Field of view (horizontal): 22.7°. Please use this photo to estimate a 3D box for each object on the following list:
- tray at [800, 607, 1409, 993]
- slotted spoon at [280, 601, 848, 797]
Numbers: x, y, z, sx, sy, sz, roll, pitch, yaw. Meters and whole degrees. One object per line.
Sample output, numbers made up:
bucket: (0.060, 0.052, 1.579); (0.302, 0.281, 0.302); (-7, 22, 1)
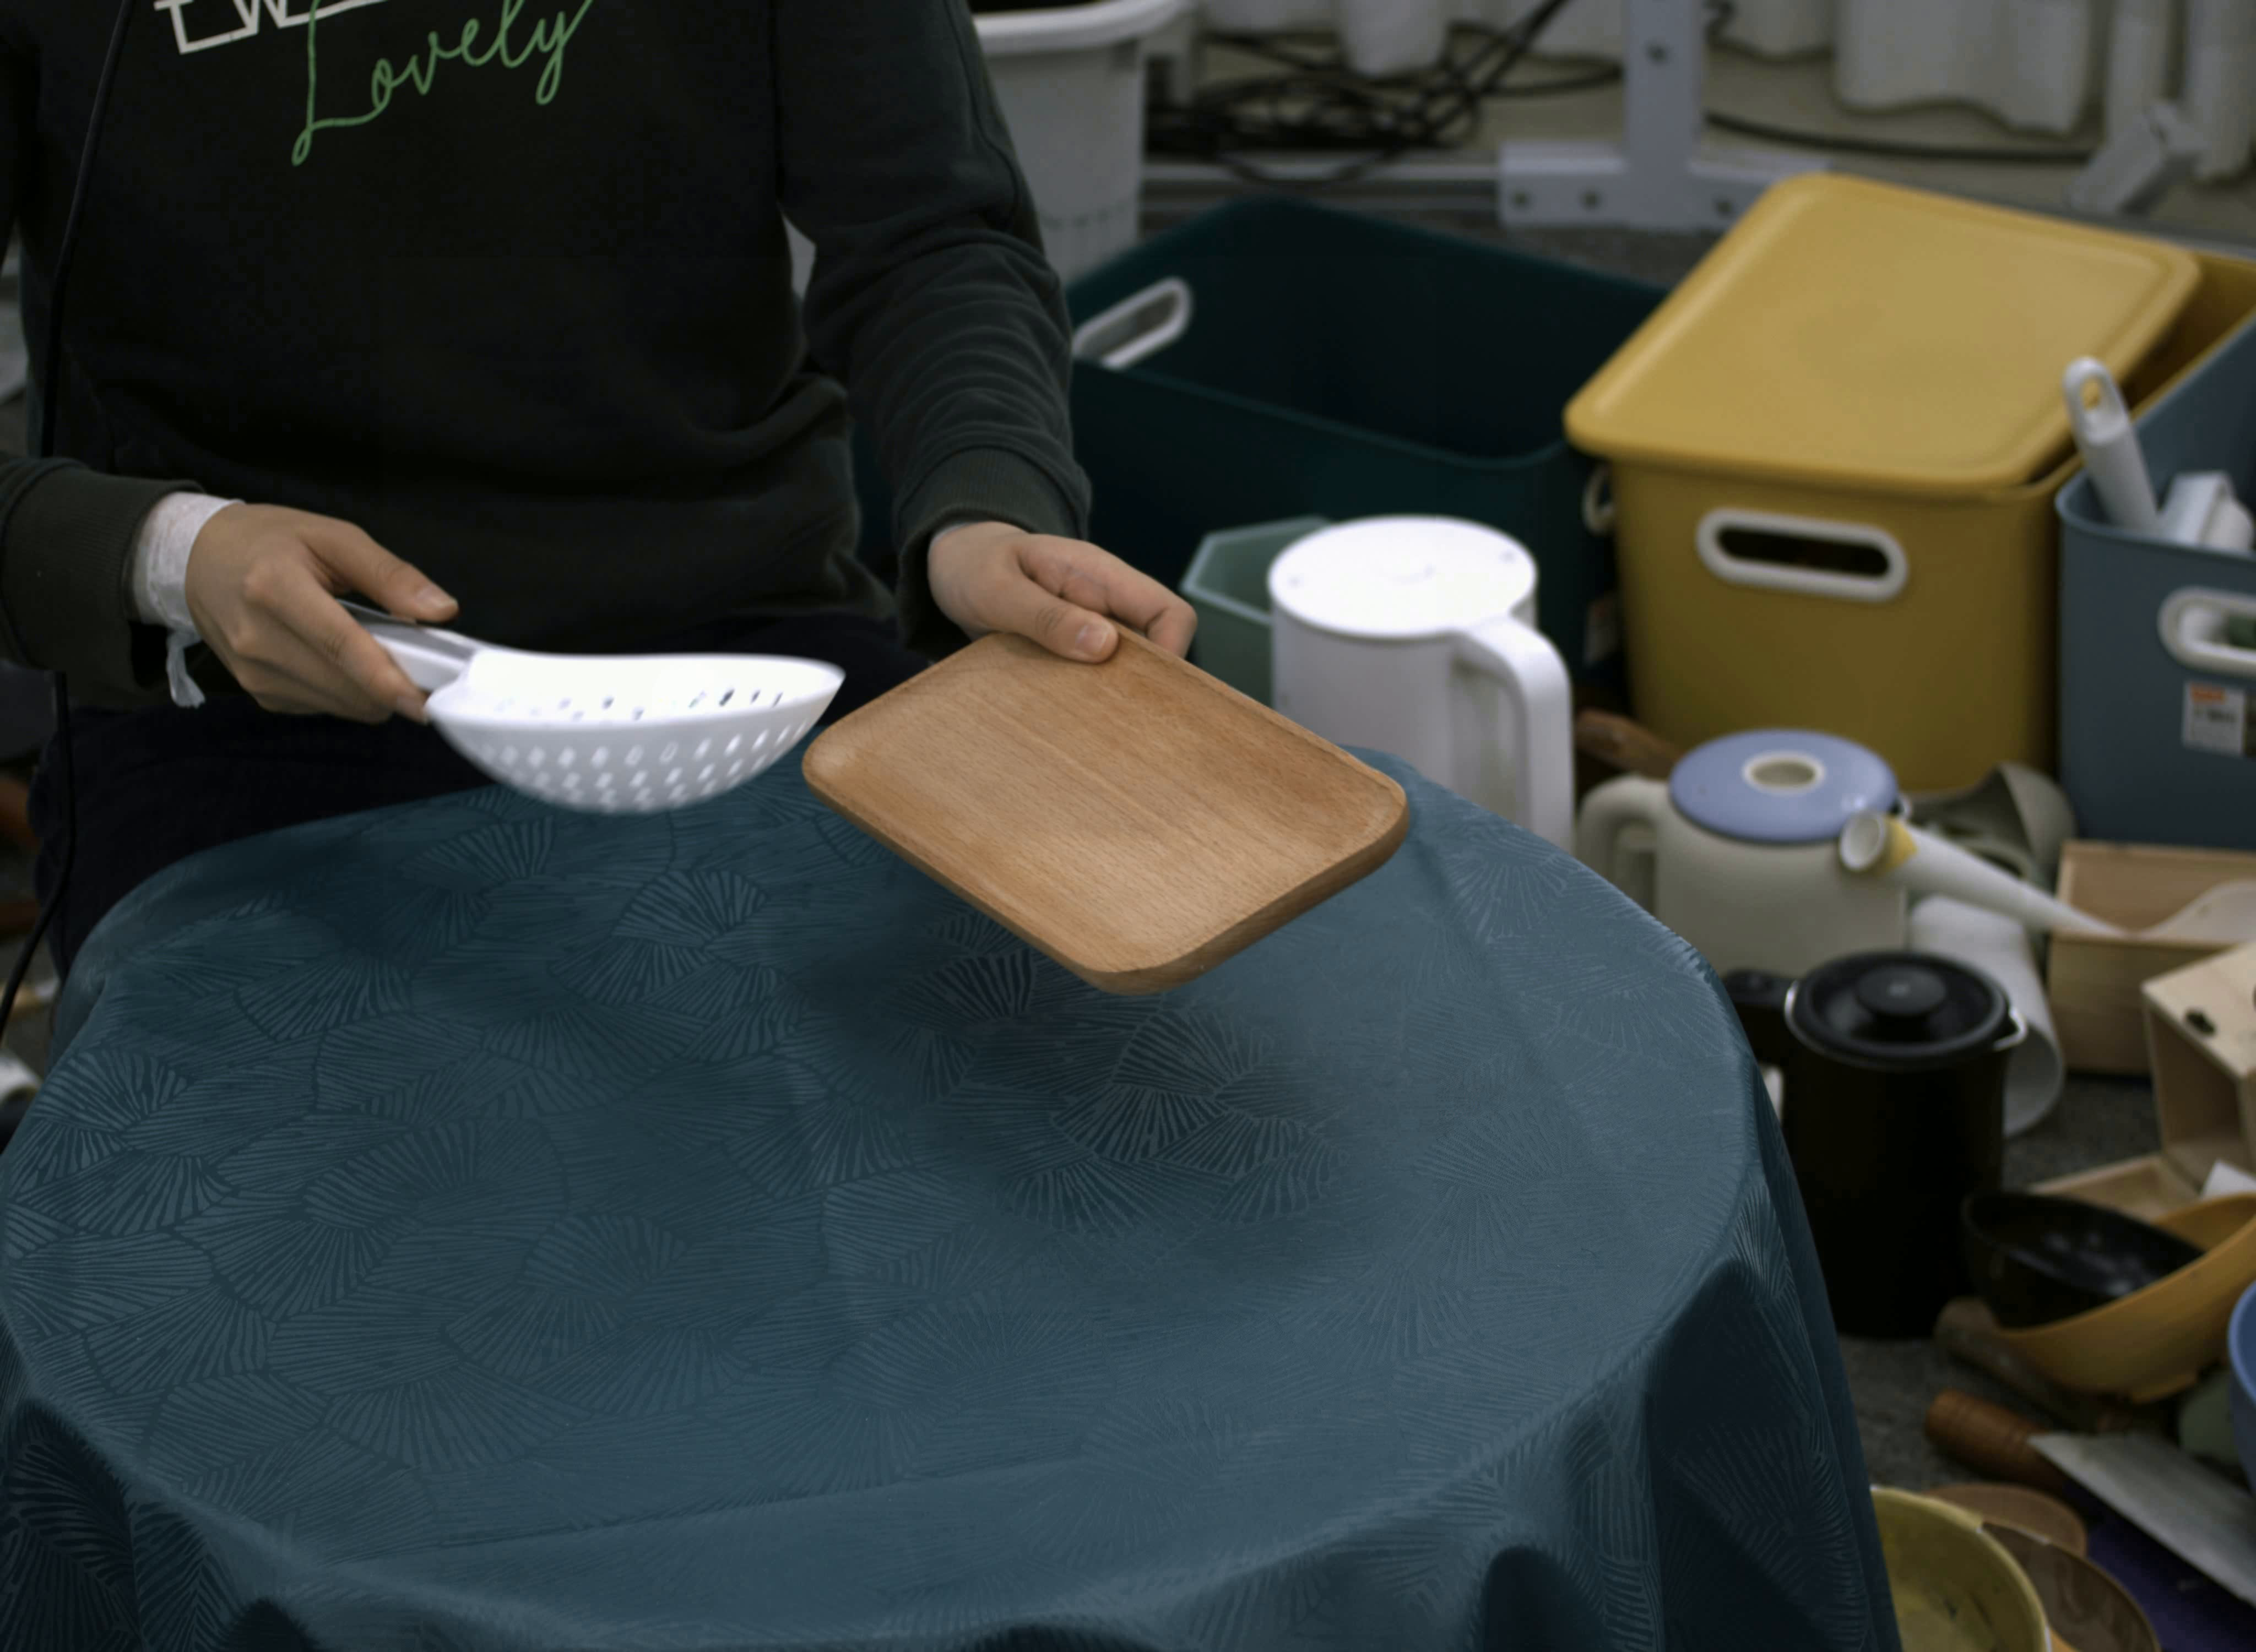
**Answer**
tray: (-0.011, -0.011, 1.915); (0.131, 0.022, 0.251); (-28, 29, -20)
slotted spoon: (-0.215, -0.054, 1.934); (0.136, 0.045, 0.349); (-6, 15, -30)
